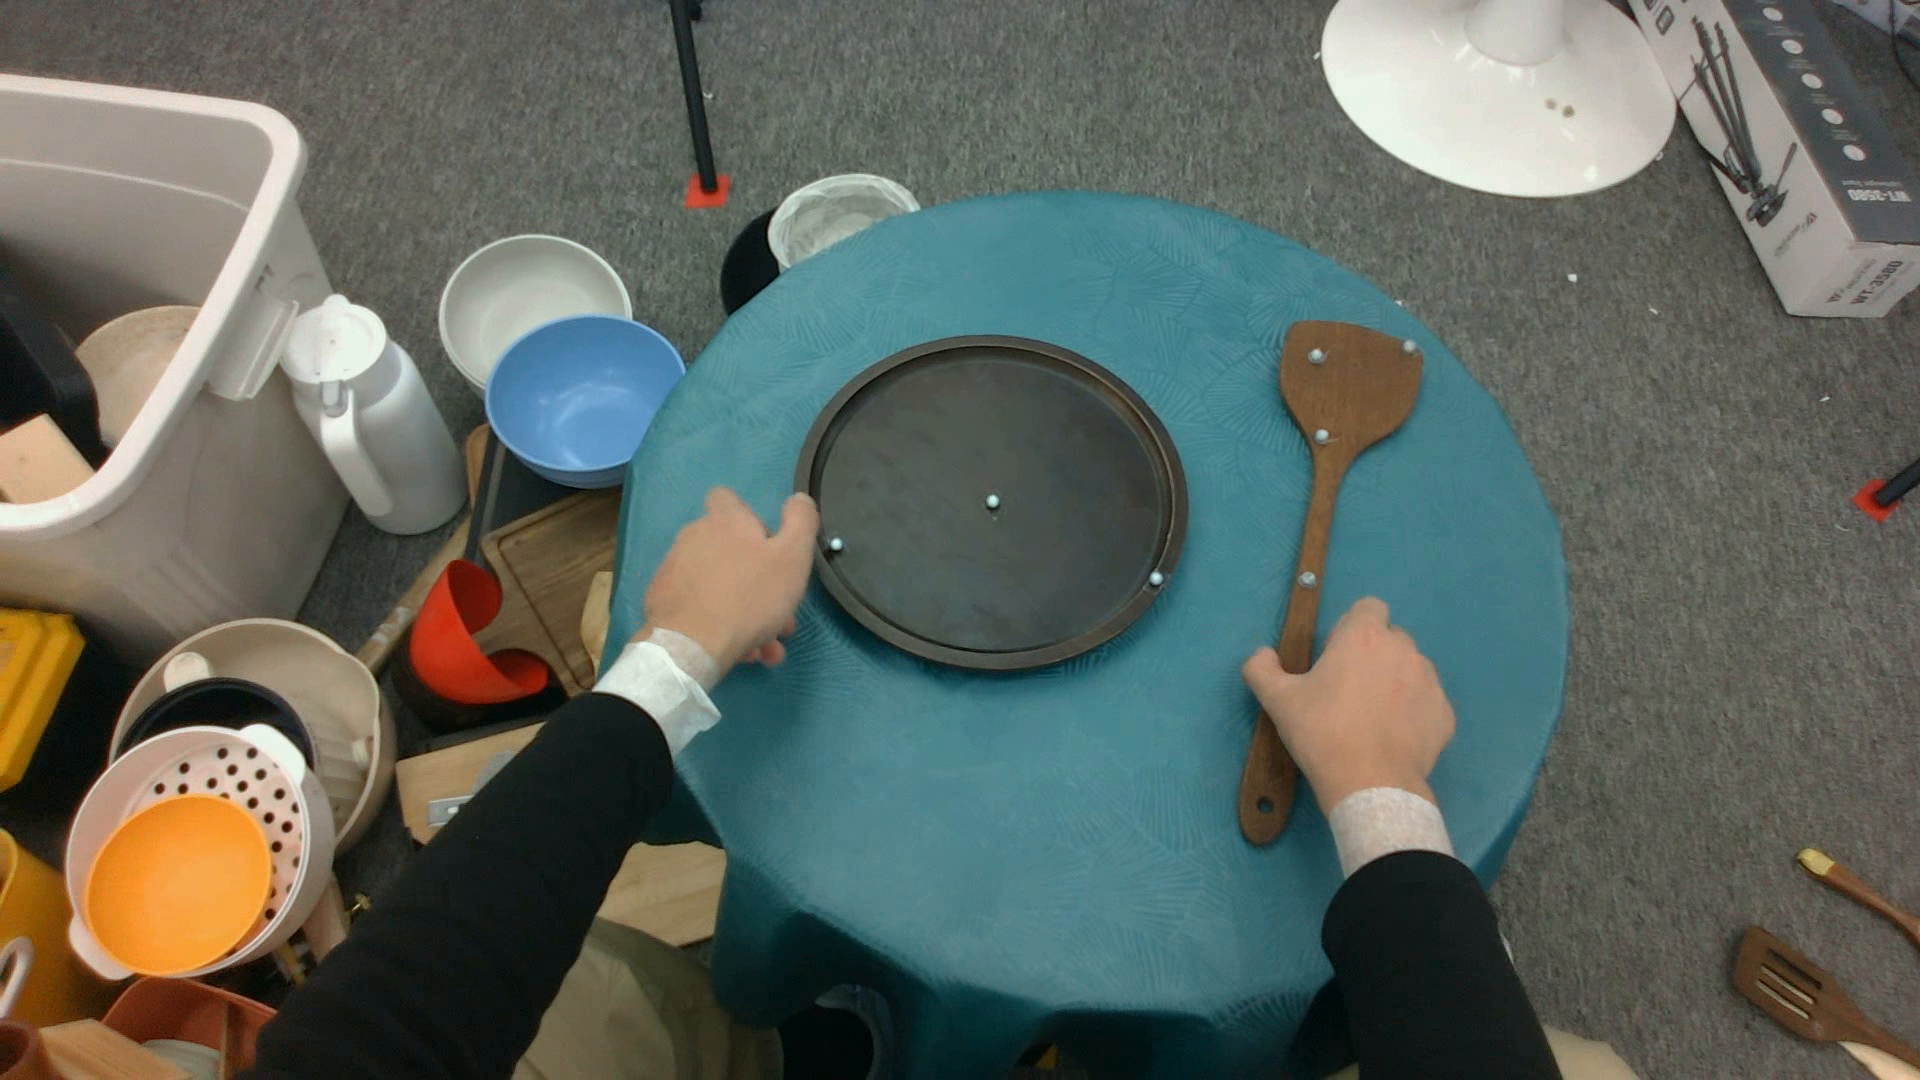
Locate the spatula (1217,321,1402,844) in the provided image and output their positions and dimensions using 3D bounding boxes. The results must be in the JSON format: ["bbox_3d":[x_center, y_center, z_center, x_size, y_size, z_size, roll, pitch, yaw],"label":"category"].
[{"bbox_3d":[0.210,0.010,0.871,0.096,0.016,0.388,15,60,7],"label":"spatula"}]

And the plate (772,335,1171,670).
[{"bbox_3d":[0.007,-0.029,0.879,0.255,0.029,0.256,2,58,-3],"label":"plate"}]
